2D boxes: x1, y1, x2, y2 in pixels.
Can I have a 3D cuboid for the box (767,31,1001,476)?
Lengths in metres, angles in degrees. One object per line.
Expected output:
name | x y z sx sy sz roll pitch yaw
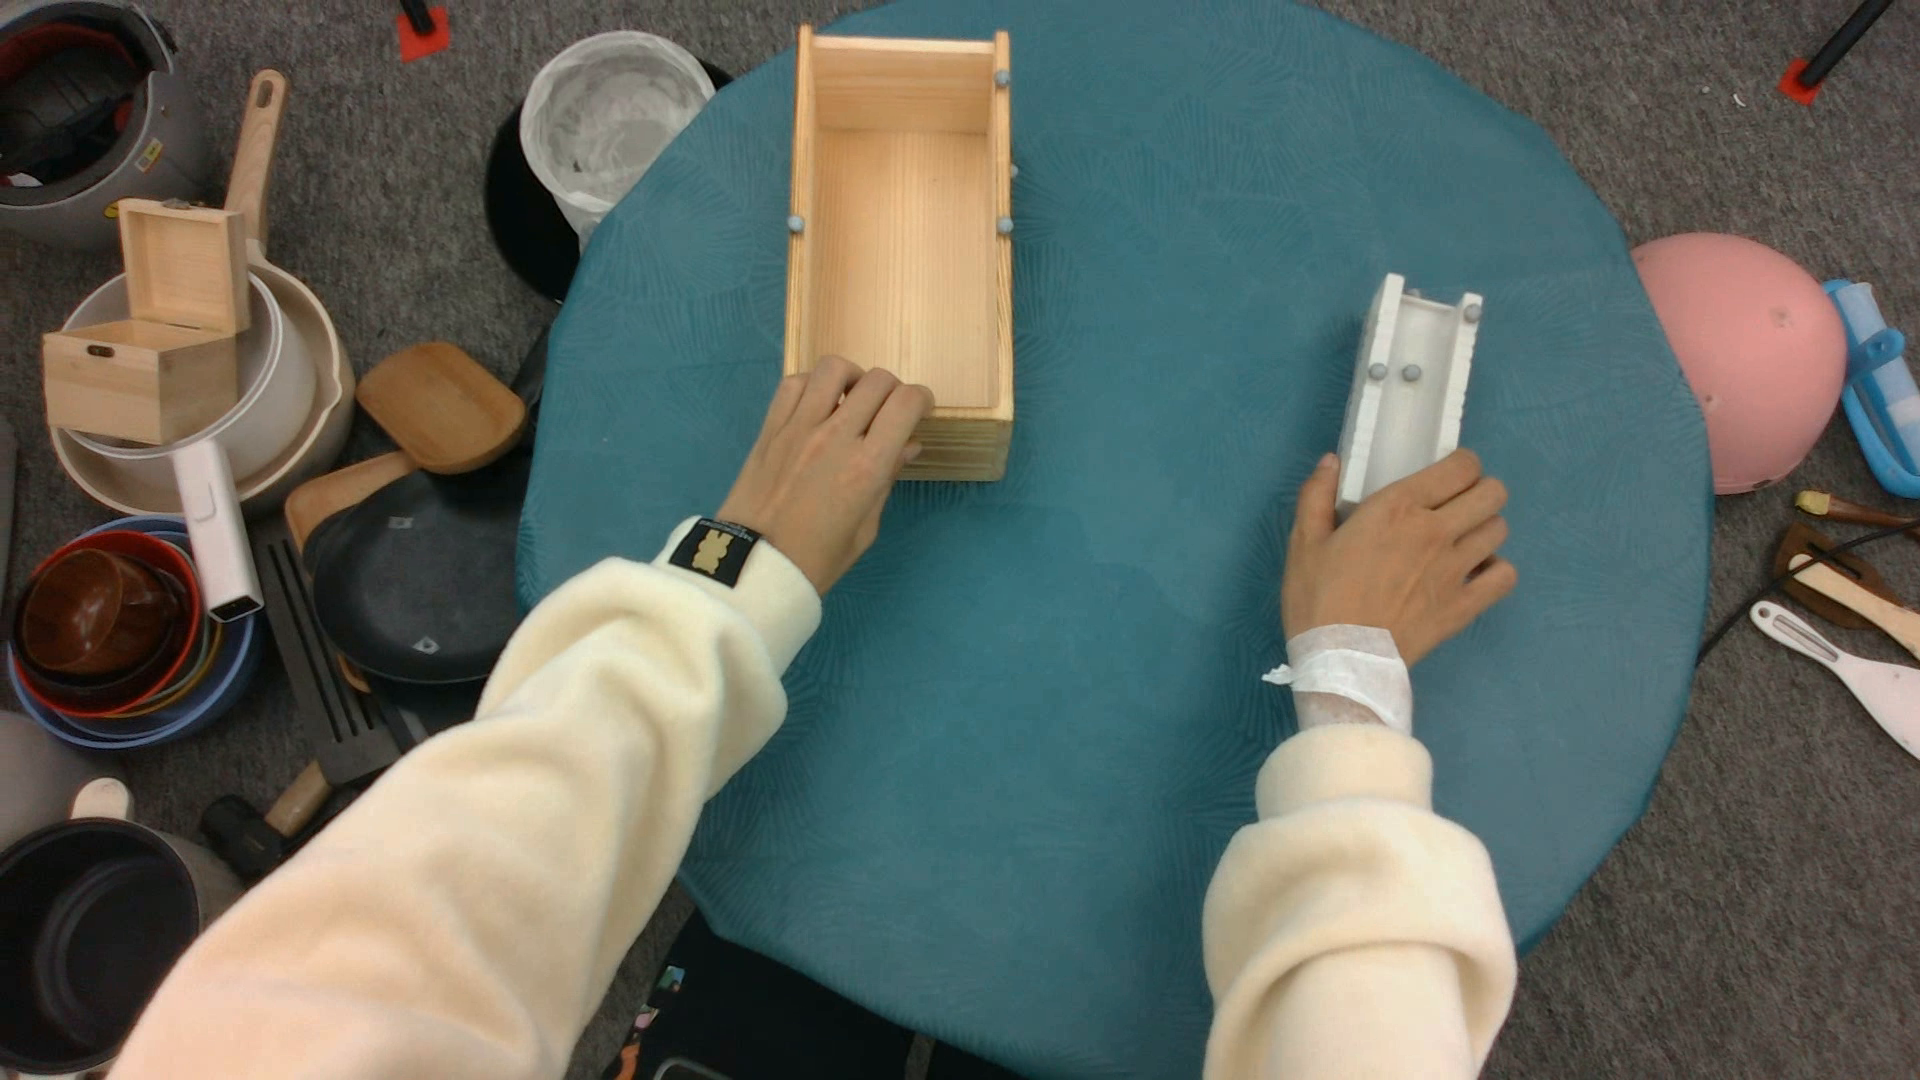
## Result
box | -0.036 -0.144 0.691 0.107 0.080 0.212 0 70 -2

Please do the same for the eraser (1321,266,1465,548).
eraser | 0.215 -0.066 0.688 0.050 0.046 0.135 15 66 1
